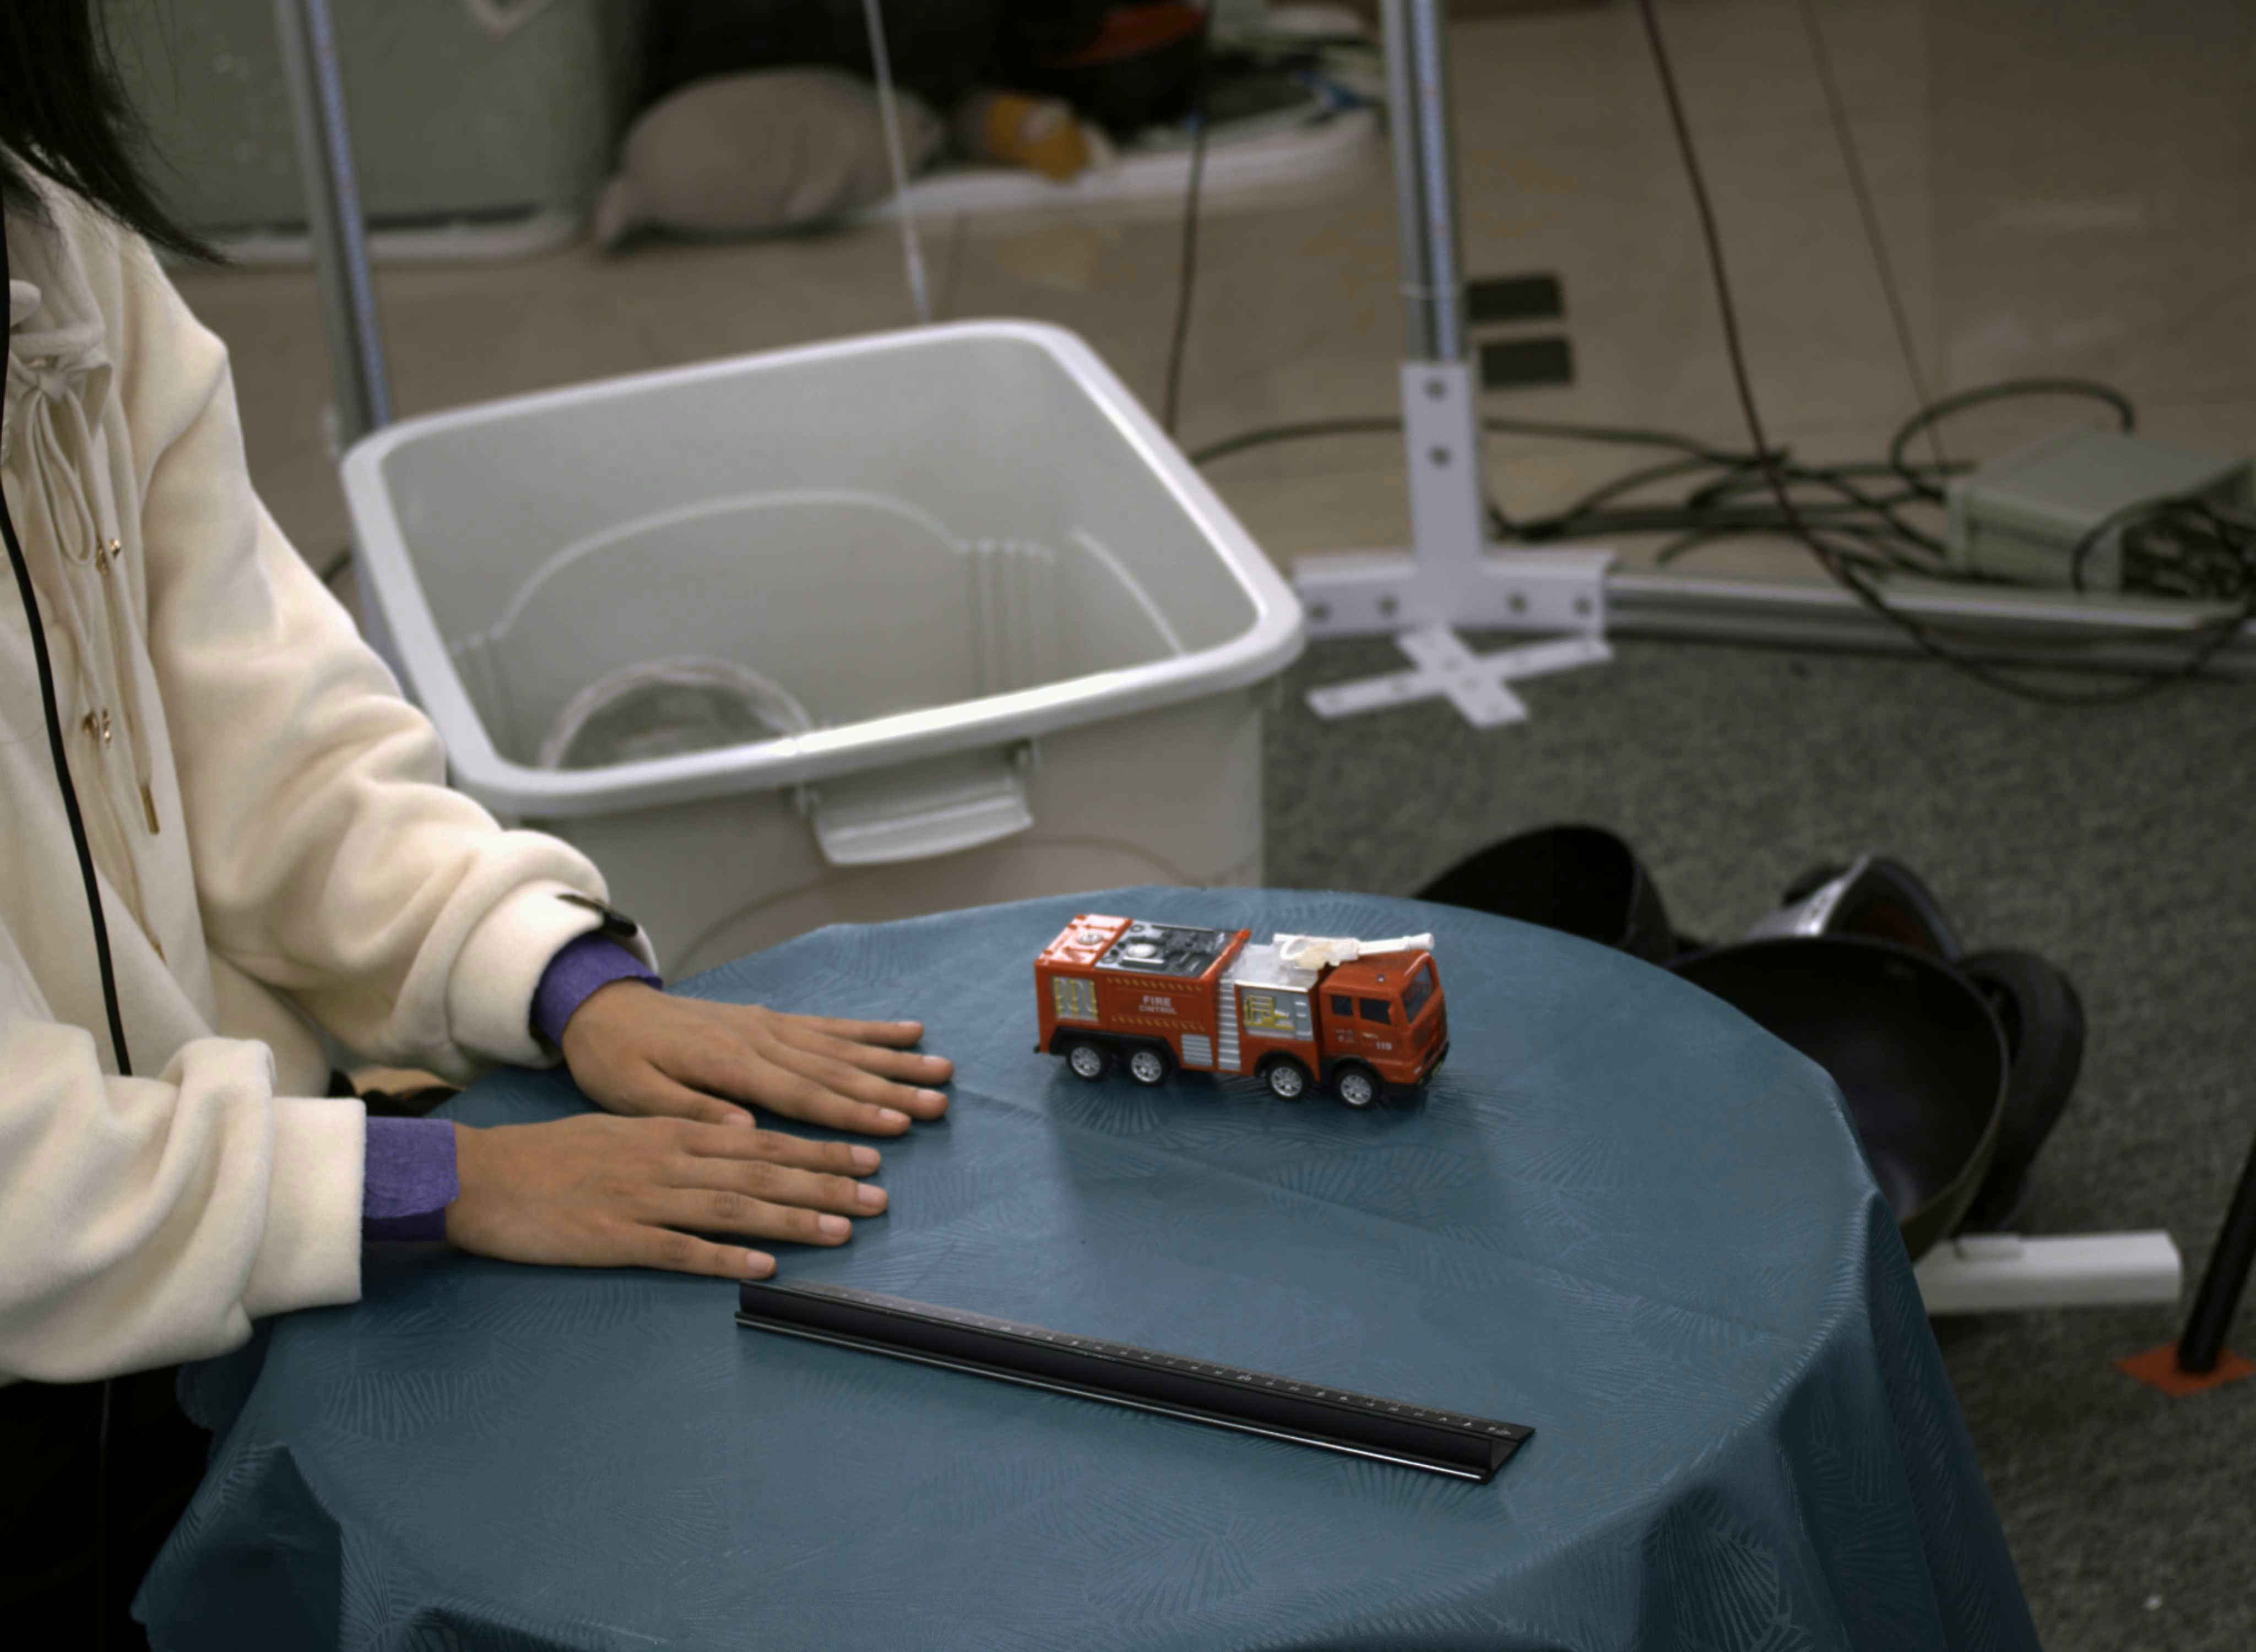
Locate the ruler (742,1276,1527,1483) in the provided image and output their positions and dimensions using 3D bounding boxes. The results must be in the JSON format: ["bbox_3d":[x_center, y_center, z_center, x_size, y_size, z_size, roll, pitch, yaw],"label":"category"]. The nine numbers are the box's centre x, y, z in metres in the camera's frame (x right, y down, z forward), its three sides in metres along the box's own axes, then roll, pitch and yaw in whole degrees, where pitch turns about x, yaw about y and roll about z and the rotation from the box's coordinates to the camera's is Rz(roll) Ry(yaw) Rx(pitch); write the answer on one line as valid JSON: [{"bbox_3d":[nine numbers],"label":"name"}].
[{"bbox_3d":[-0.002,0.190,2.021,0.311,0.017,0.039,9,26,31],"label":"ruler"}]

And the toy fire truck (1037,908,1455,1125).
[{"bbox_3d":[0.045,0.071,2.214,0.167,0.071,0.053,4,28,24],"label":"toy fire truck"}]
